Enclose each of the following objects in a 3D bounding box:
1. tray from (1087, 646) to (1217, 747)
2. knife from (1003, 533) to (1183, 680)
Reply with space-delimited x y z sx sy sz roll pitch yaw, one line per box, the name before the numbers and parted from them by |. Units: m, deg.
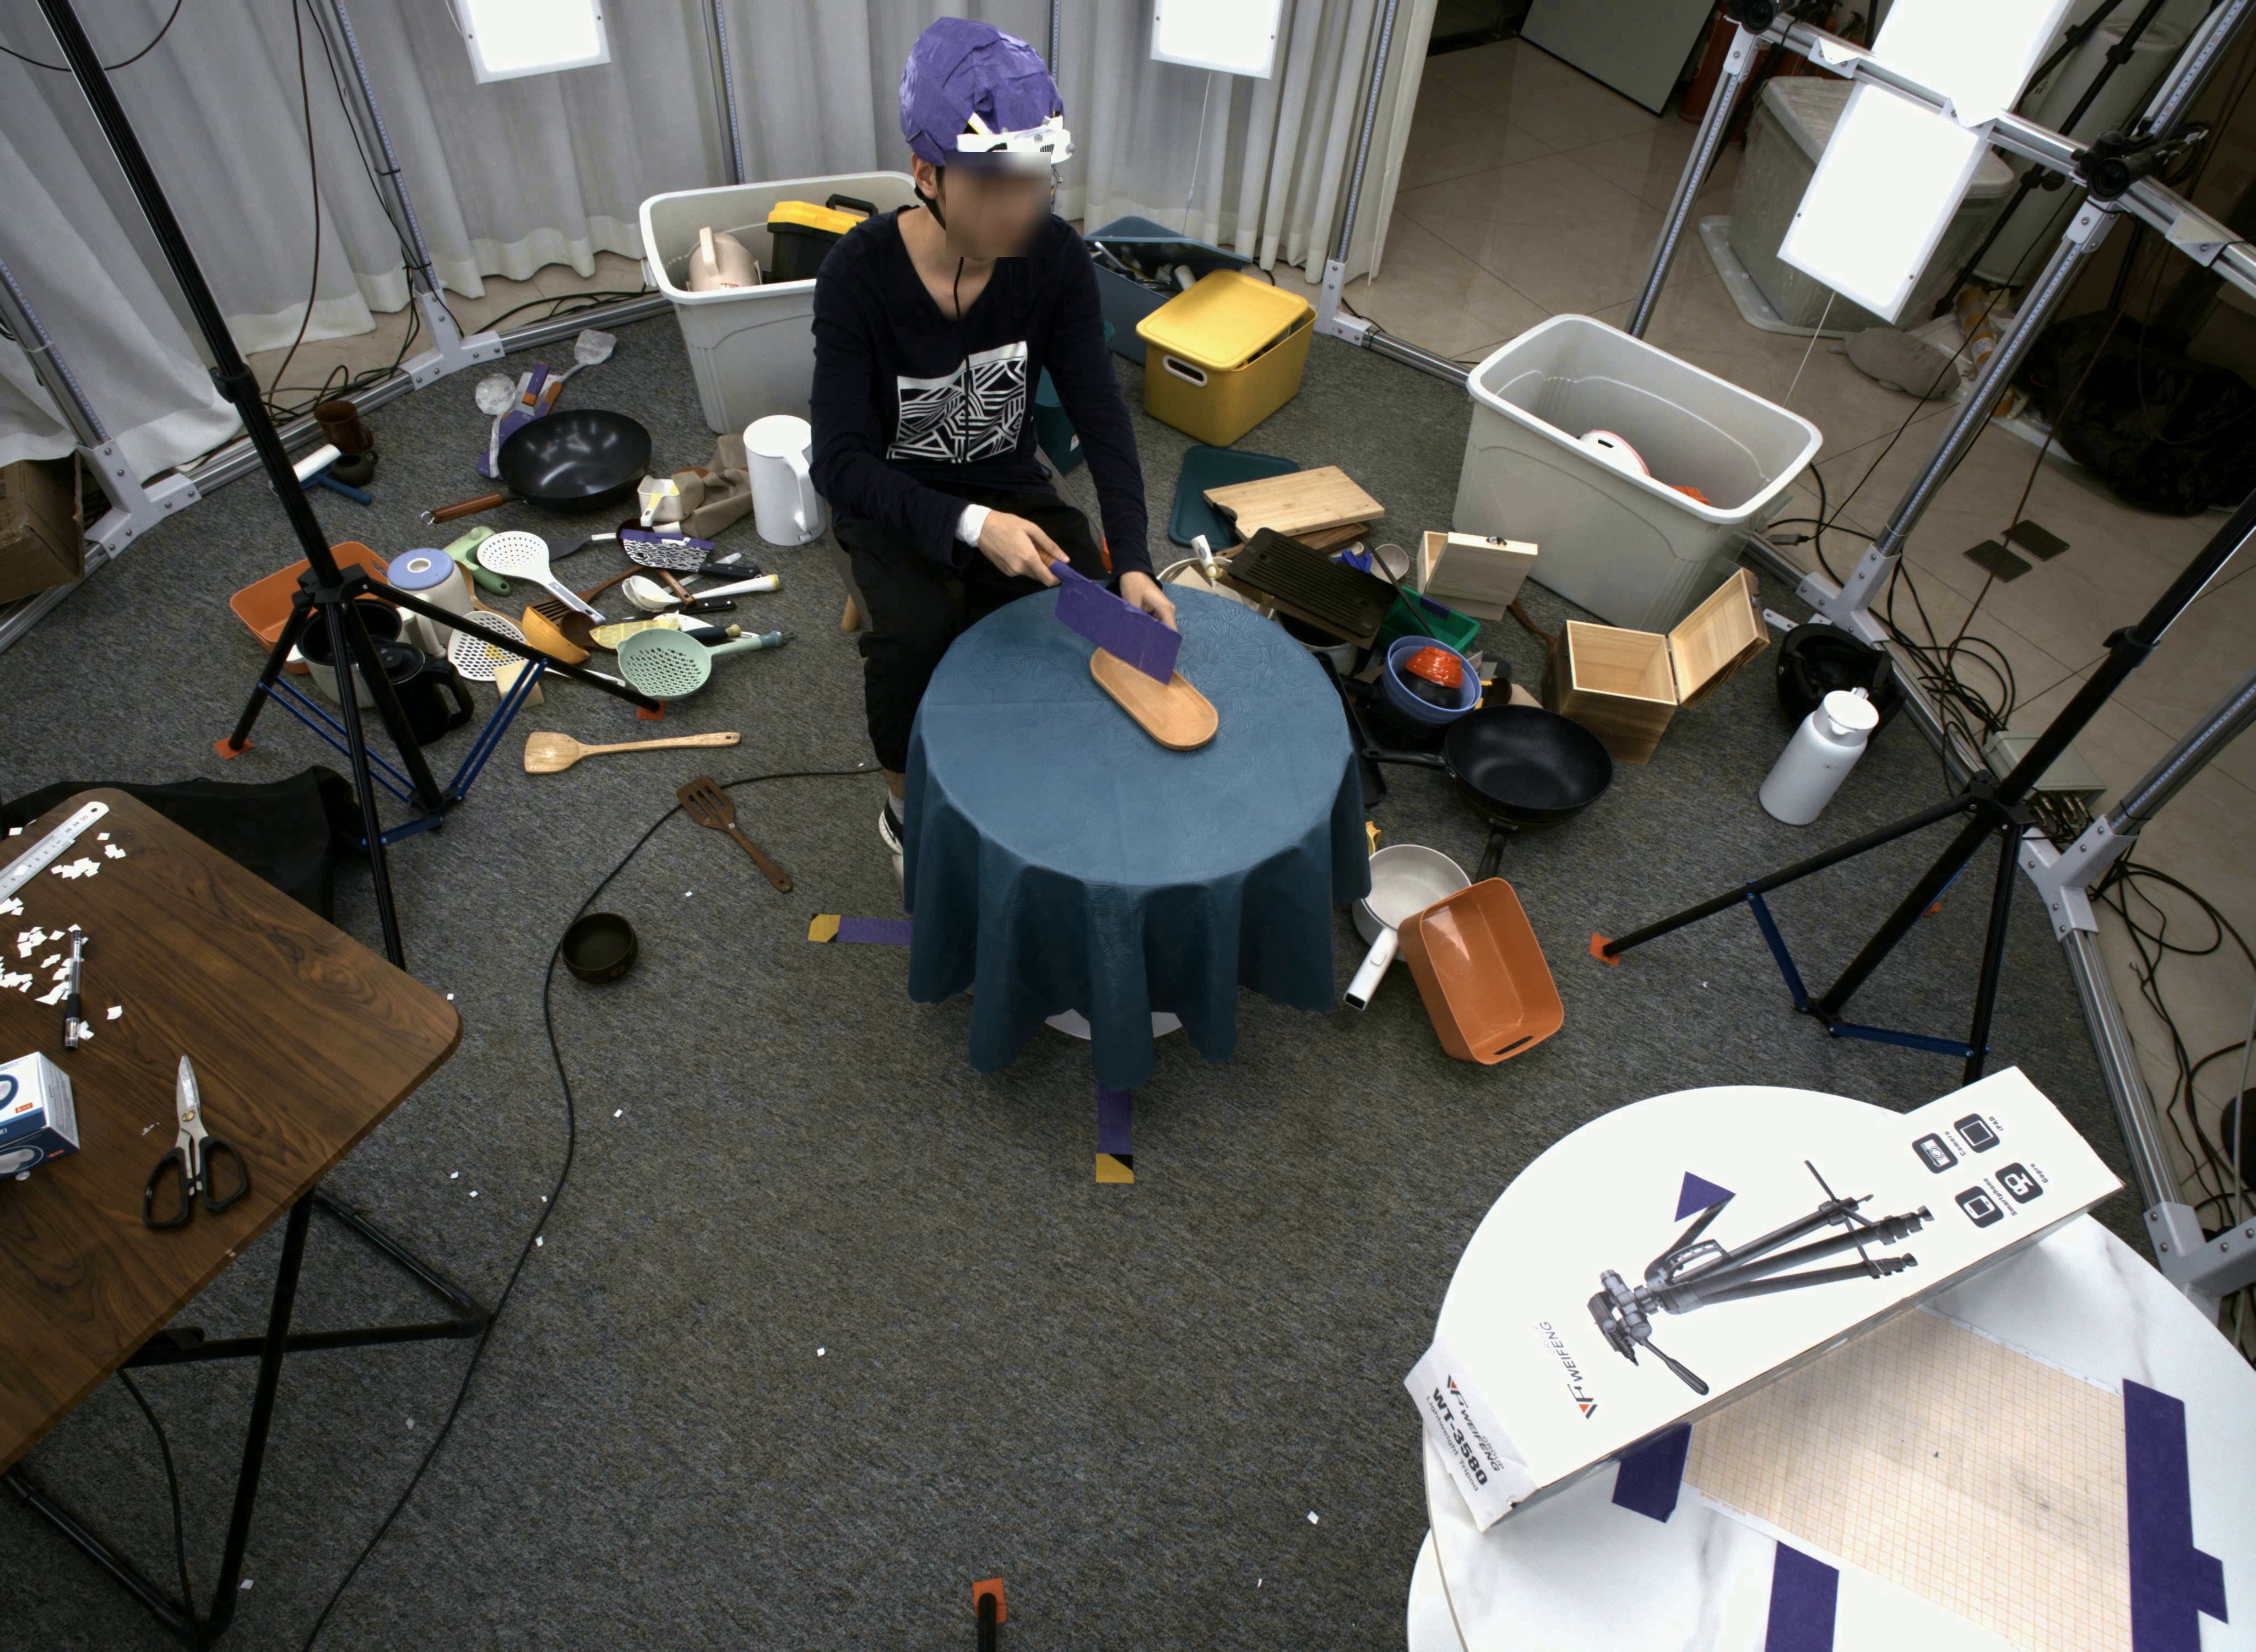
tray | 0.033 -0.191 1.822 0.102 0.020 0.235 -31 56 -24
knife | -0.058 -0.312 1.847 0.319 0.101 0.032 34 41 21
